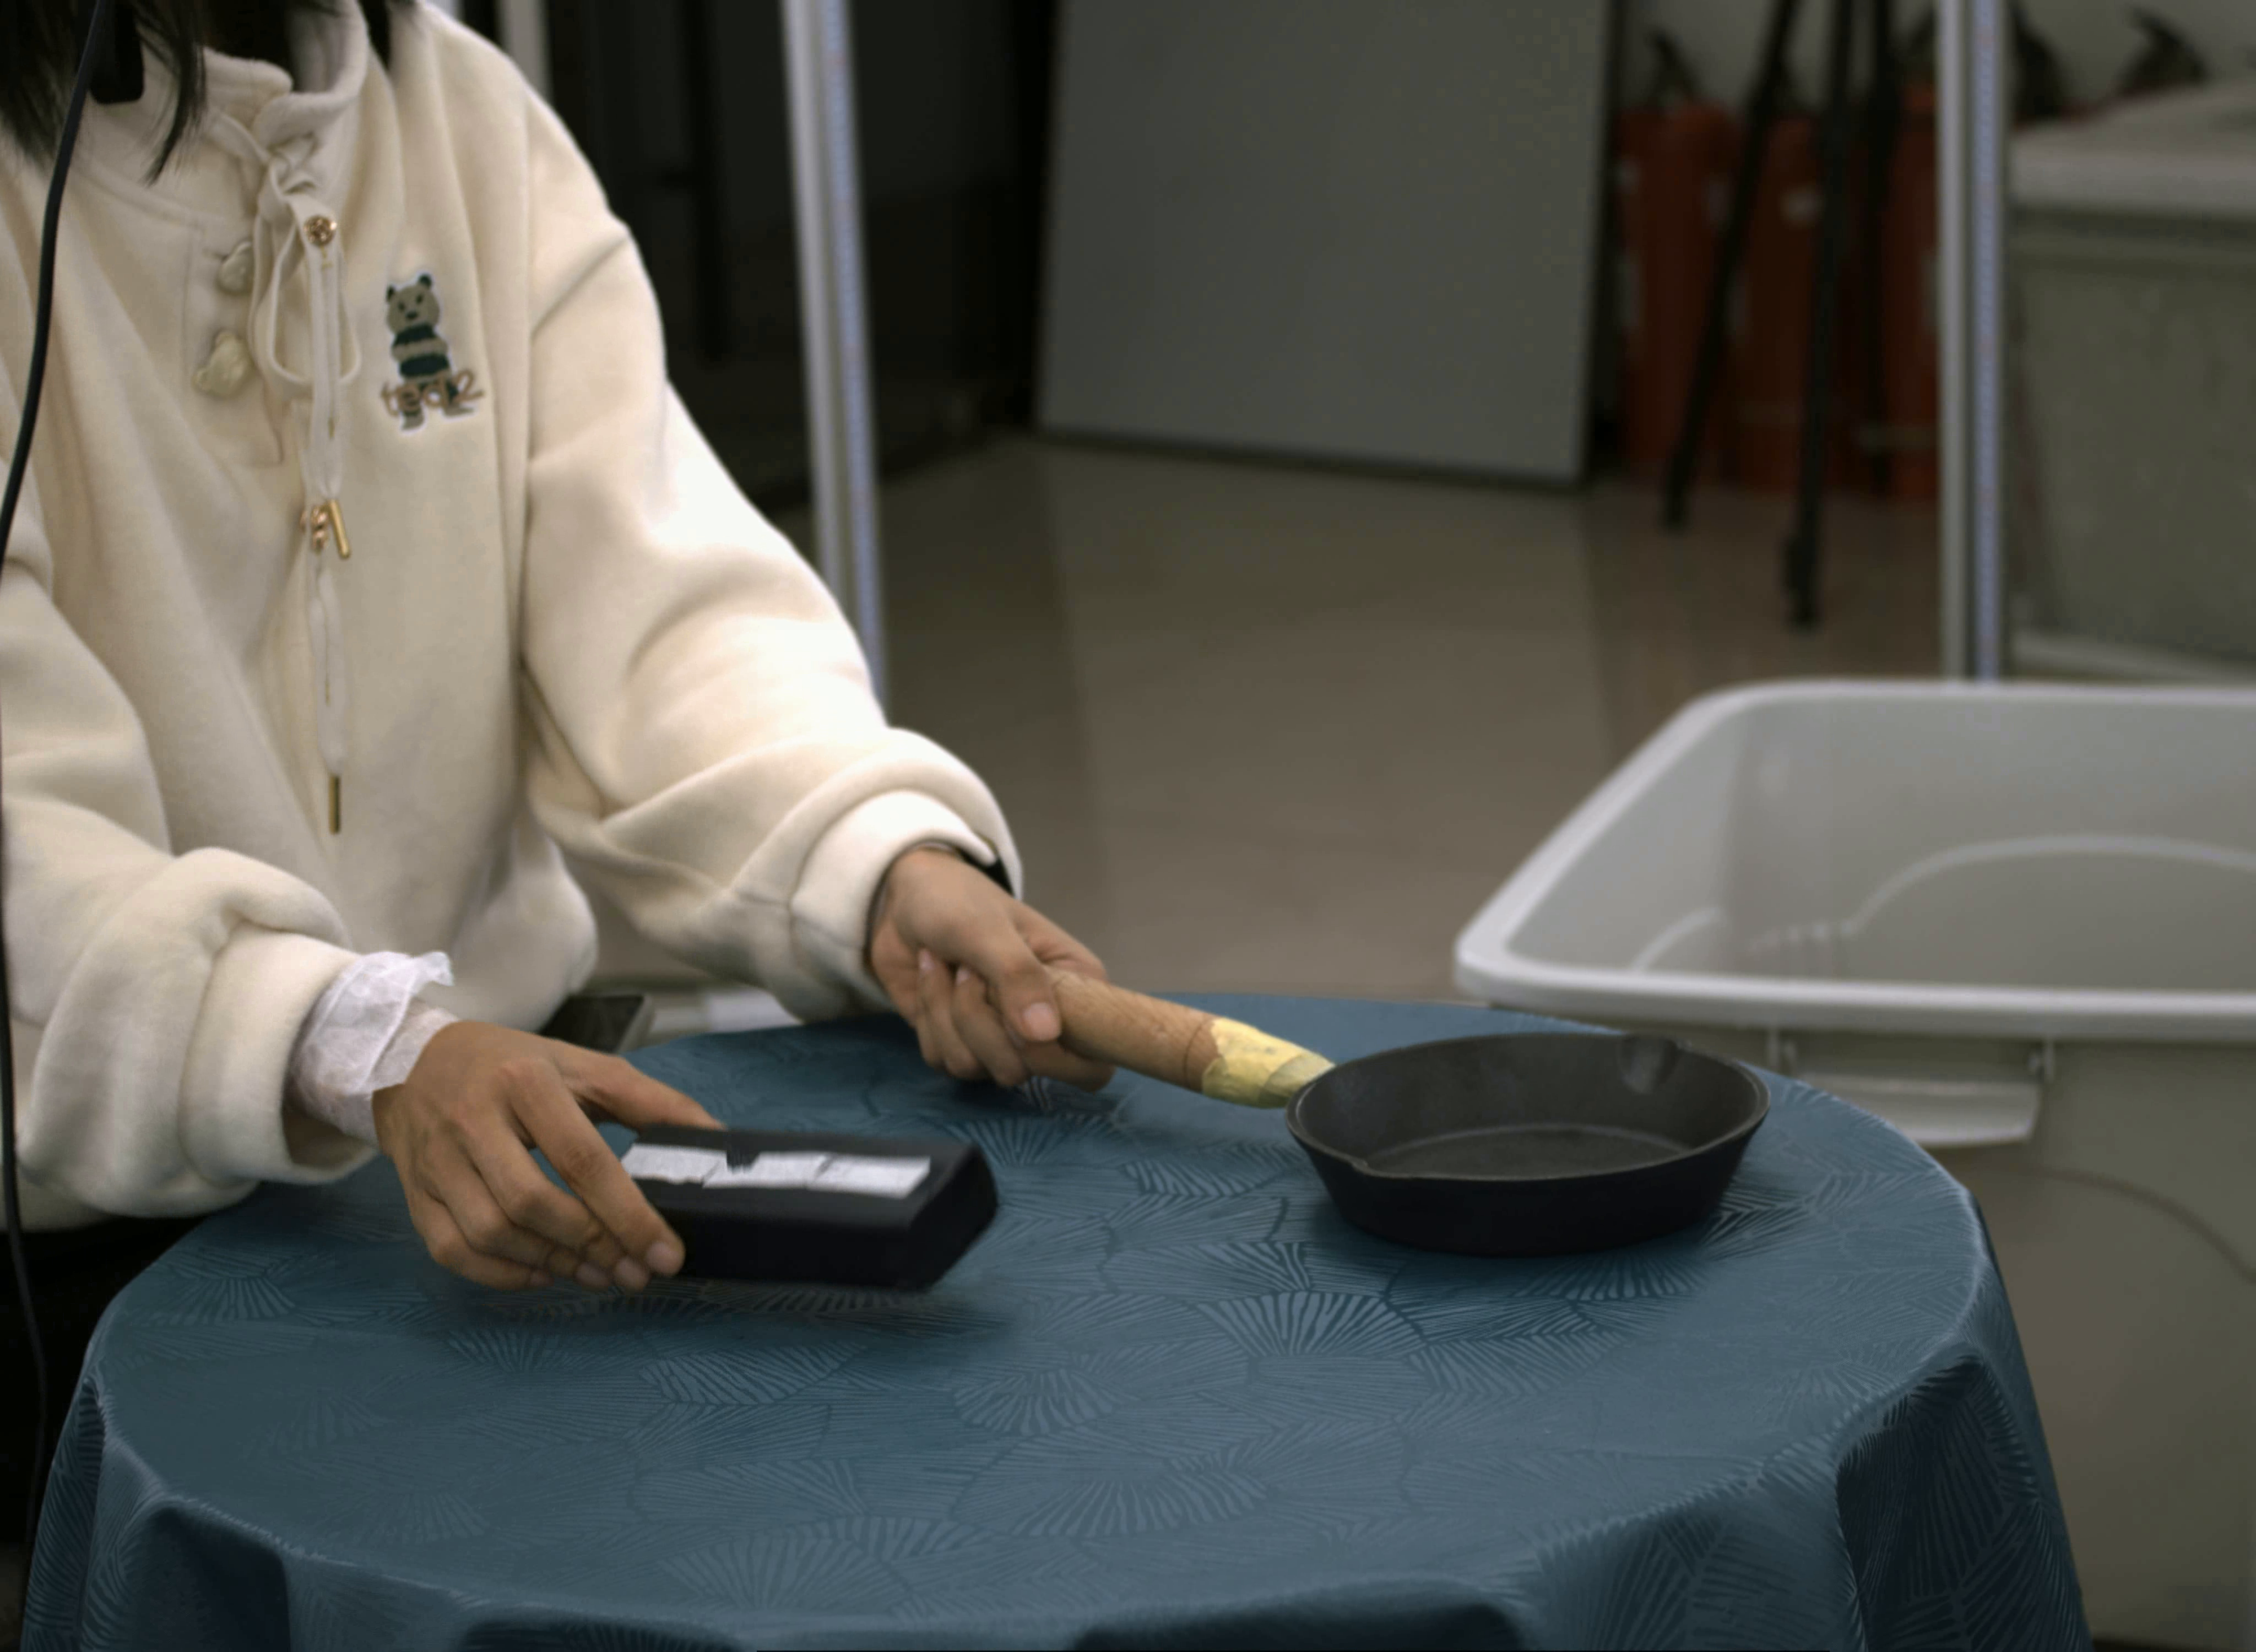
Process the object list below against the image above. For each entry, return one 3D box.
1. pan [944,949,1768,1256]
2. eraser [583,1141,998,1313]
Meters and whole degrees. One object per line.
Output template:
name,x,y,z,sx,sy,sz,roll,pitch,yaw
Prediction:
pan,0.065,0.086,1.785,0.327,0.050,0.165,9,20,41
eraser,-0.103,0.123,1.674,0.126,0.030,0.053,1,28,31
